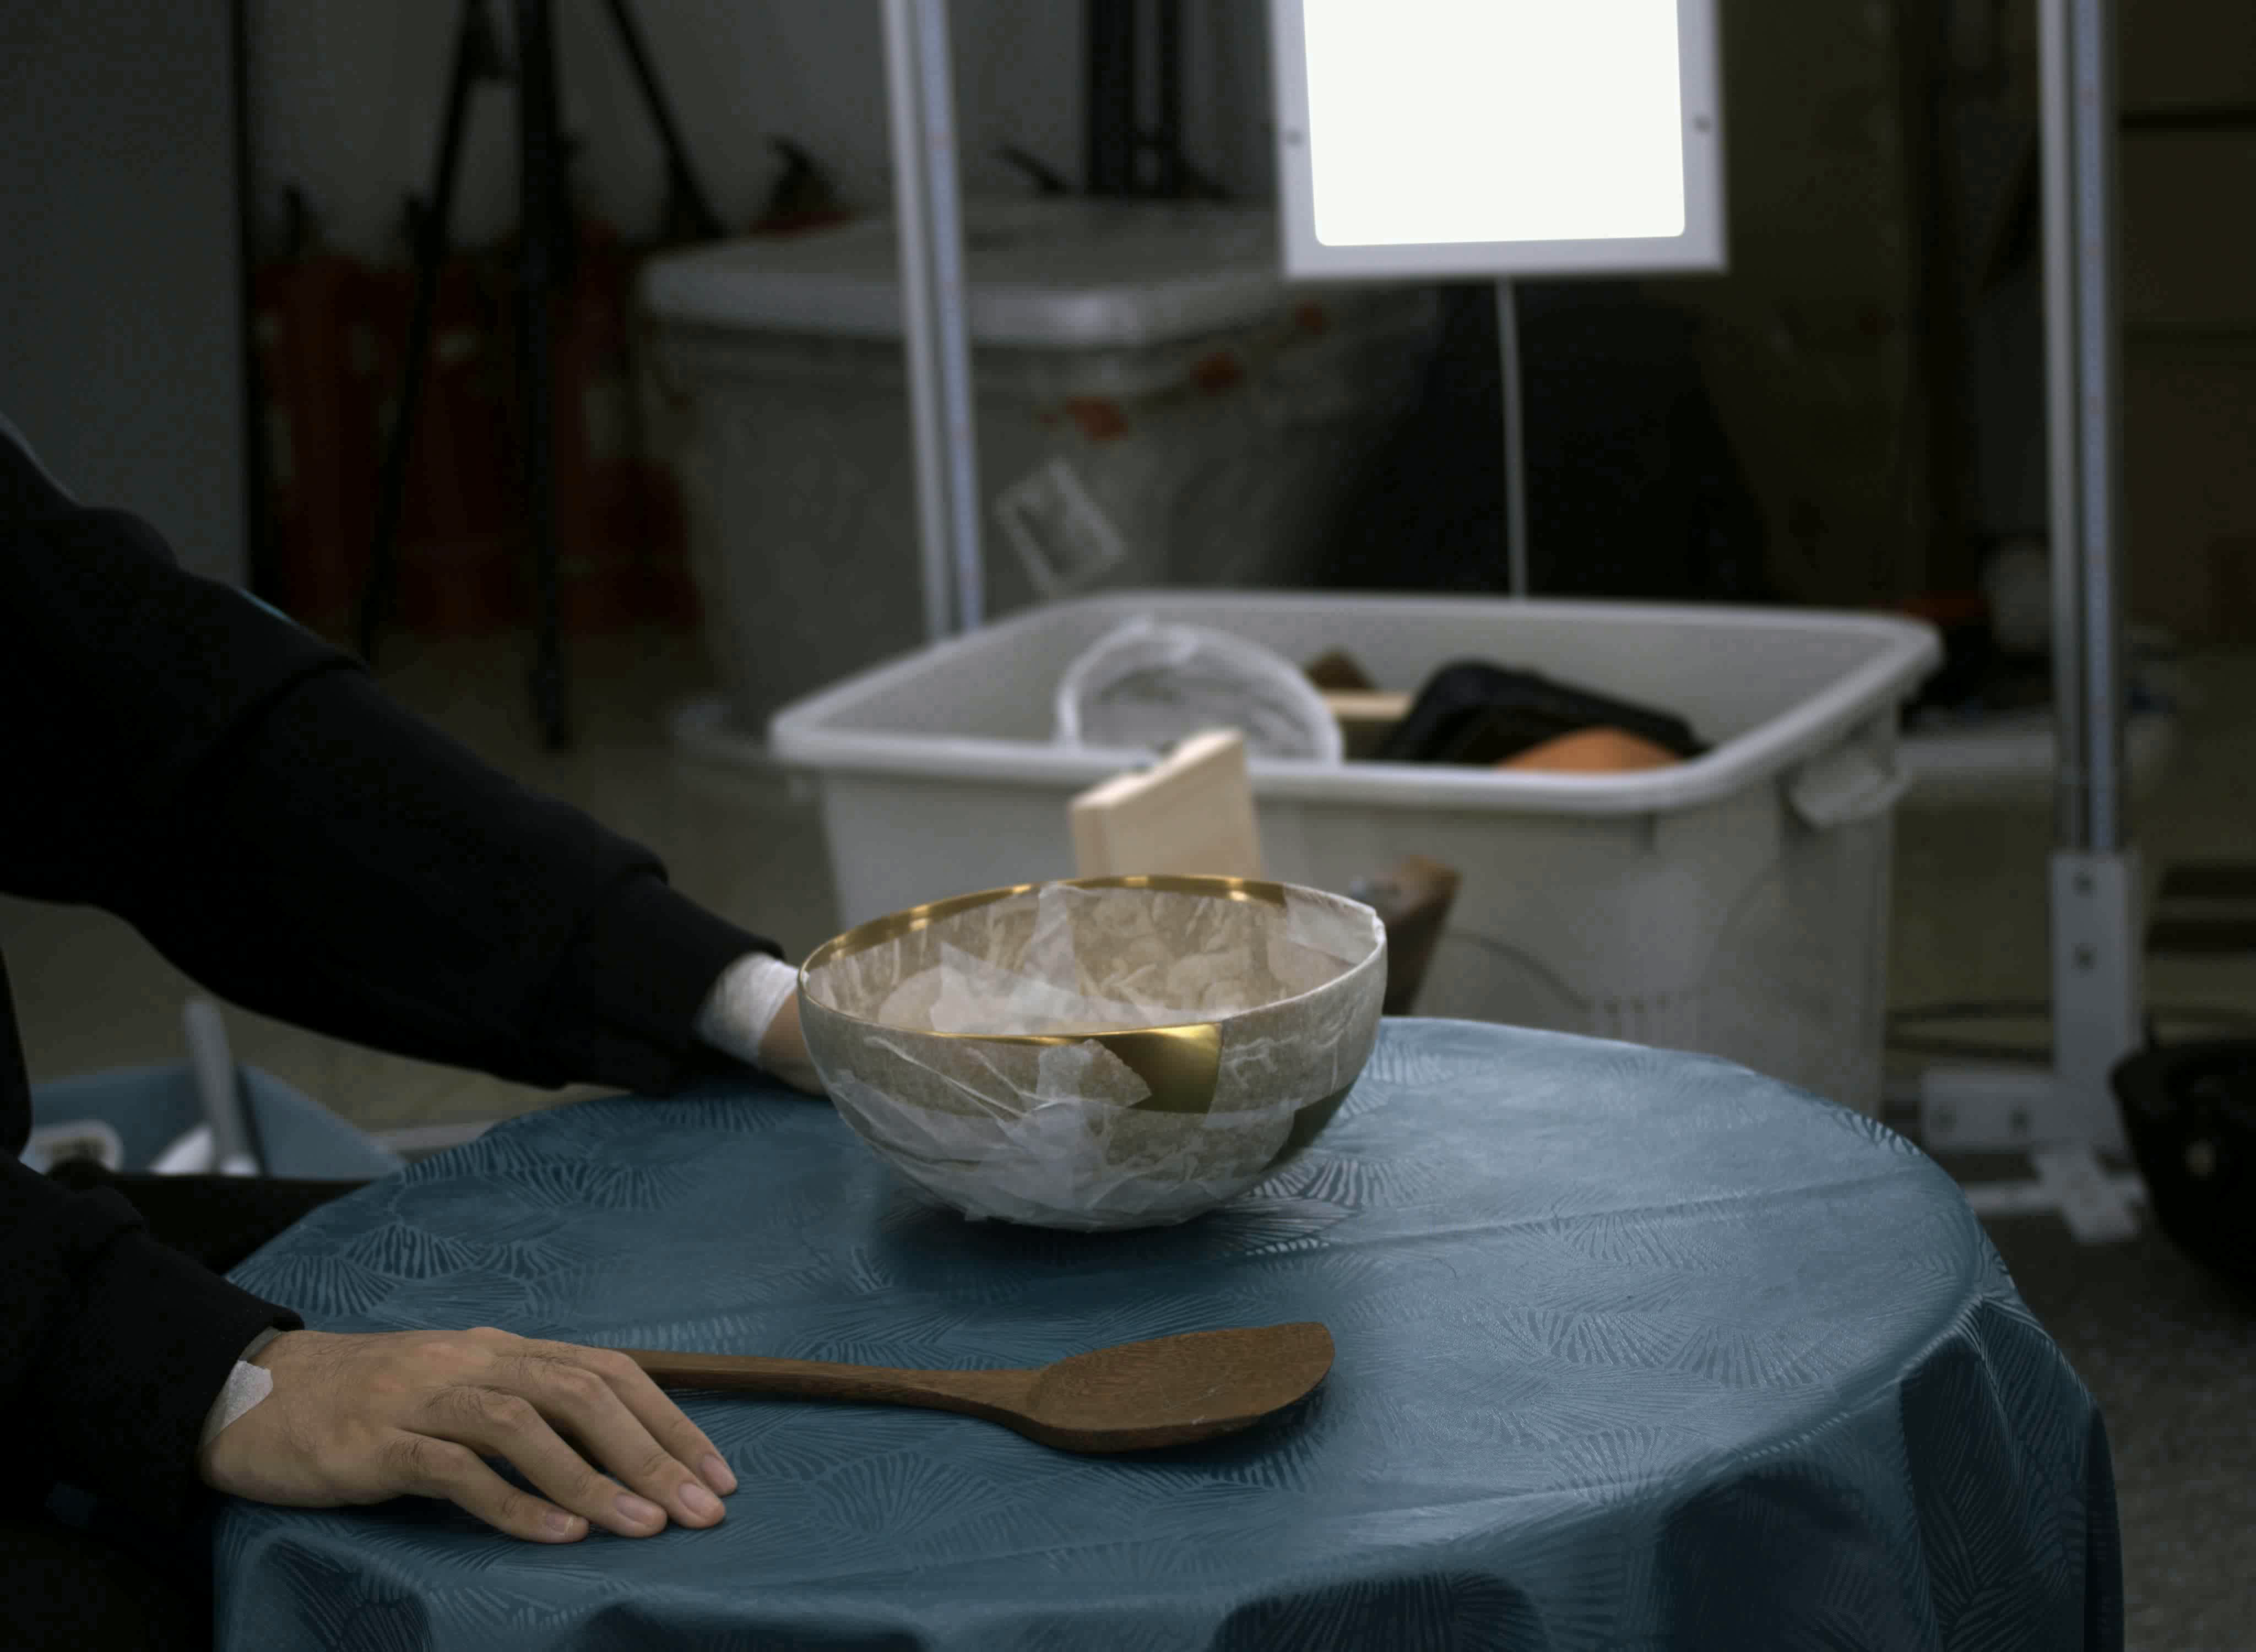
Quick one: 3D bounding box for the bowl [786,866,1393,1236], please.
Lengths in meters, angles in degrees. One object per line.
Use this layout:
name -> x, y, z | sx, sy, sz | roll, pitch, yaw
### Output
bowl -> -0.010, 0.084, 1.879 | 0.214, 0.095, 0.214 | -7, 15, 0

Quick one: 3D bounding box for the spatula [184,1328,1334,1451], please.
spatula -> -0.123, 0.171, 1.729 | 0.391, 0.016, 0.094 | 0, 14, 21
